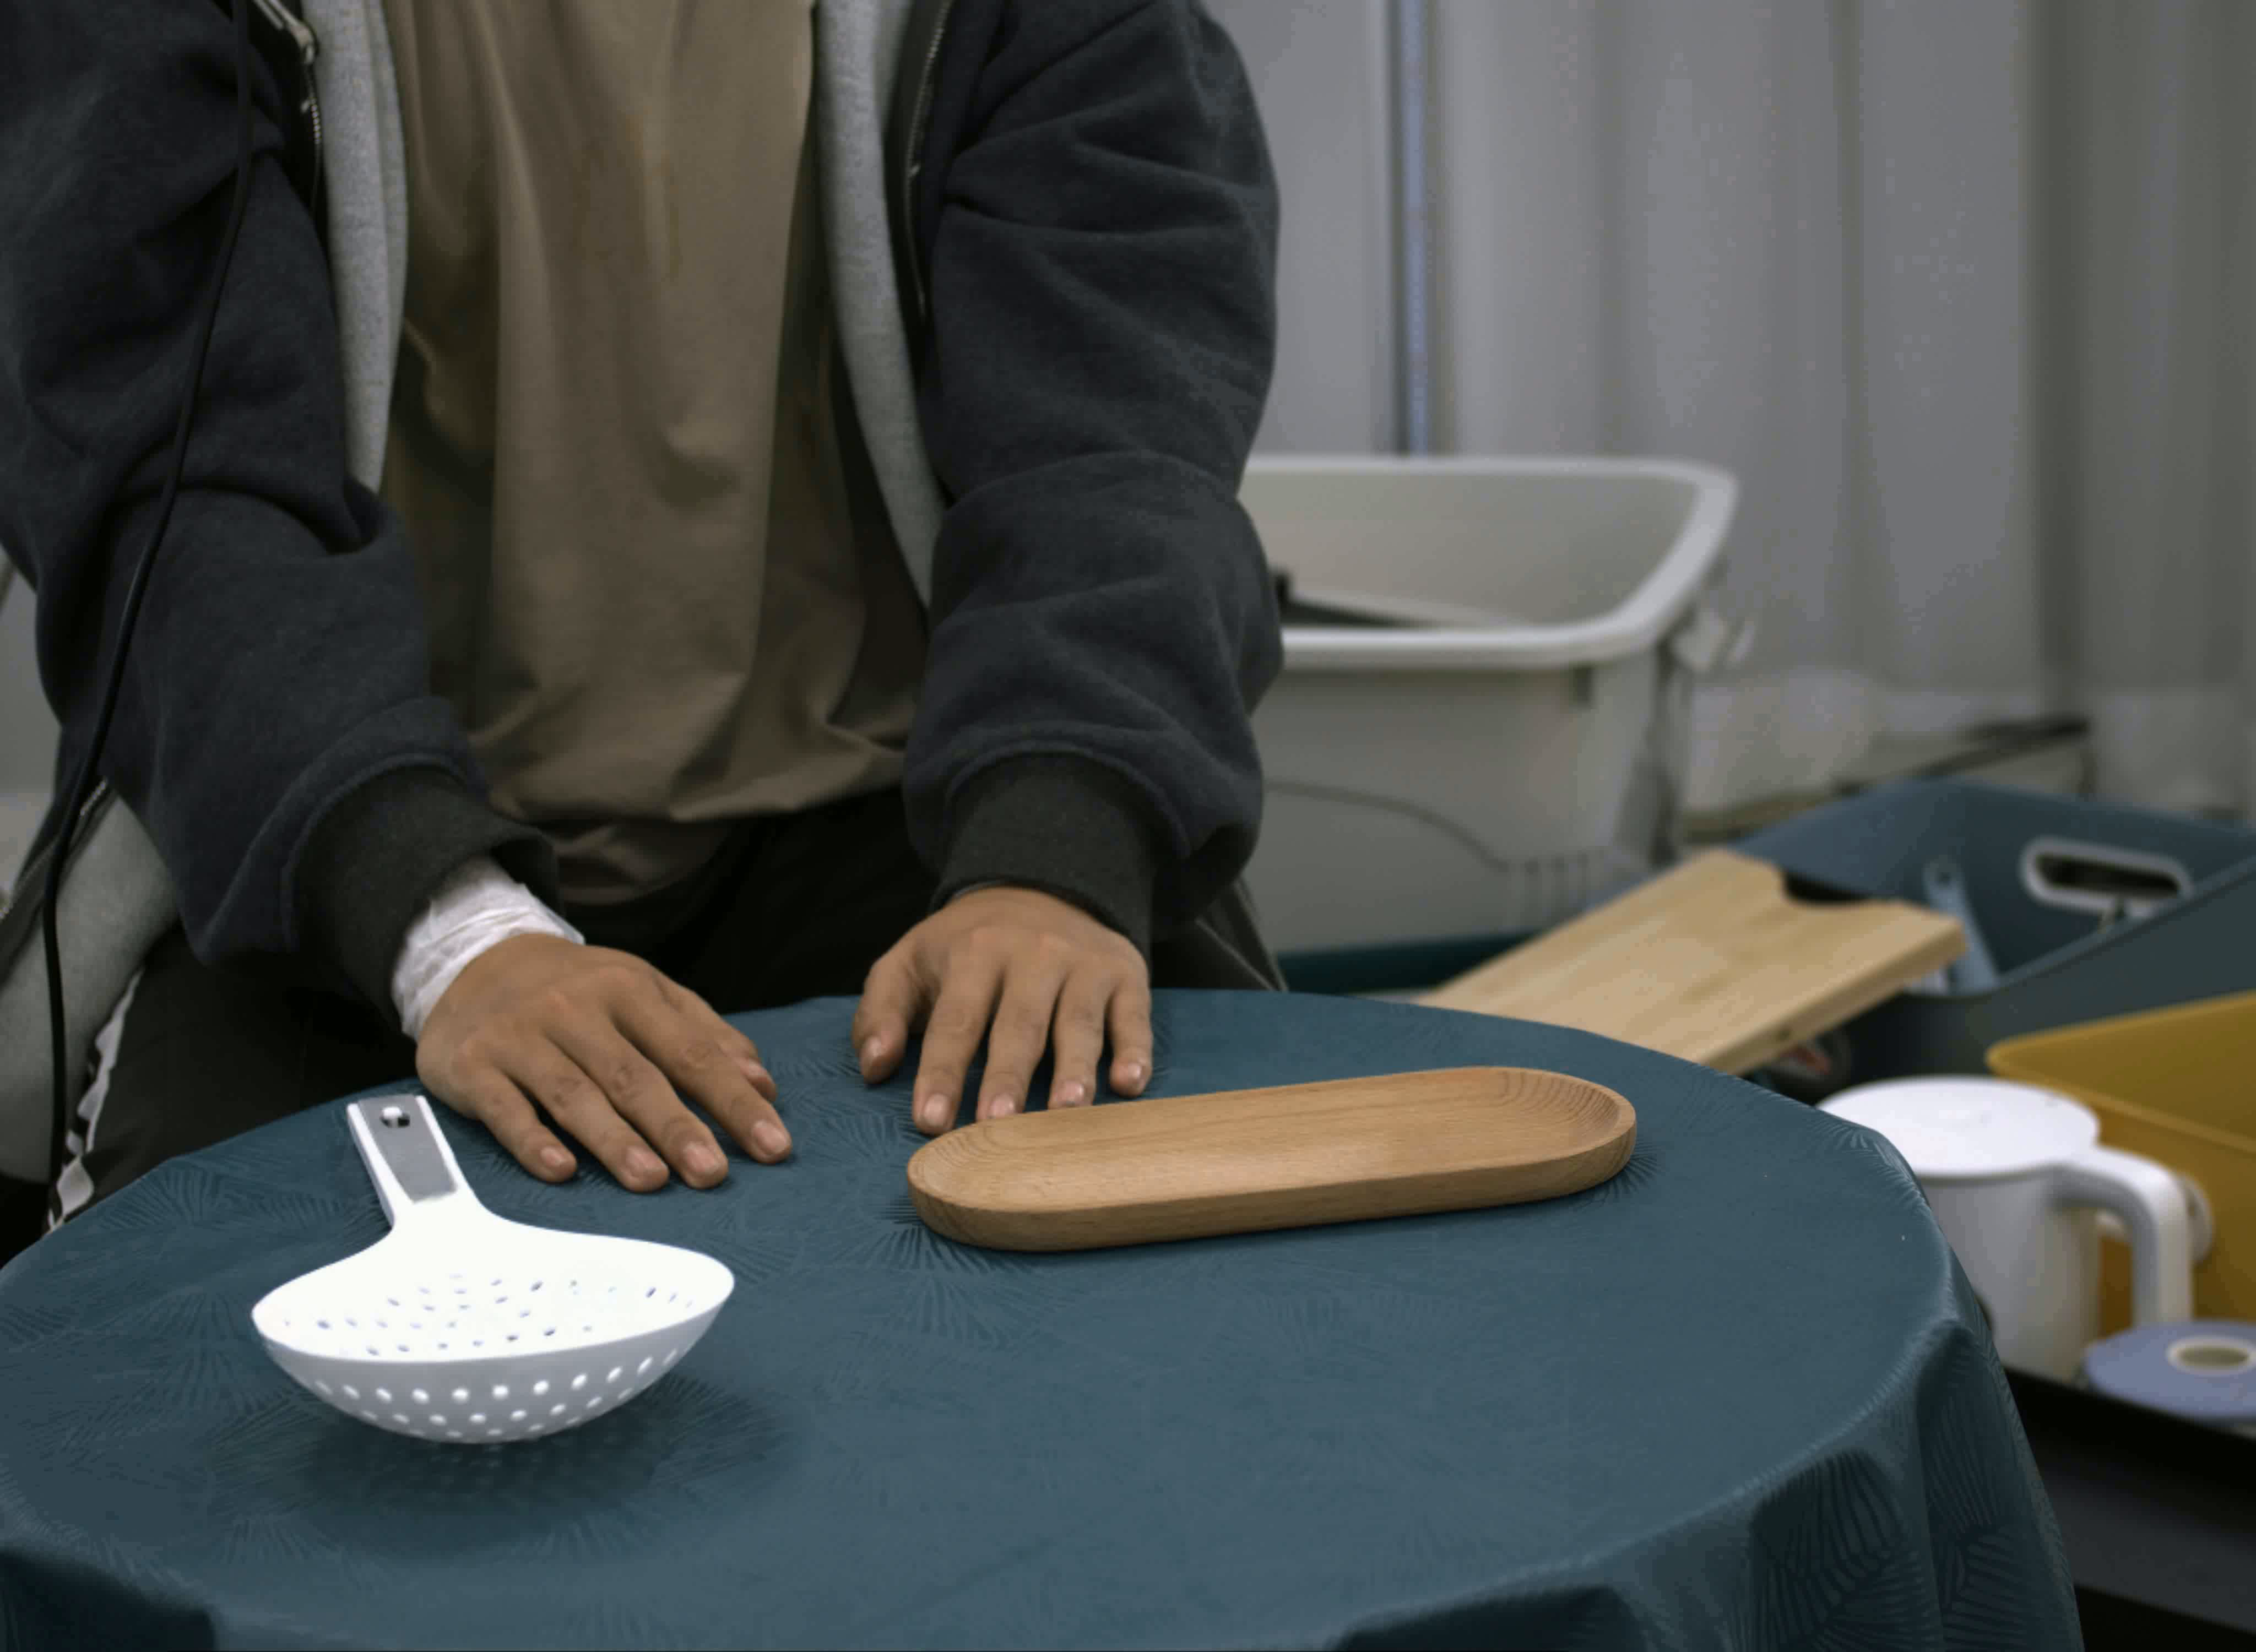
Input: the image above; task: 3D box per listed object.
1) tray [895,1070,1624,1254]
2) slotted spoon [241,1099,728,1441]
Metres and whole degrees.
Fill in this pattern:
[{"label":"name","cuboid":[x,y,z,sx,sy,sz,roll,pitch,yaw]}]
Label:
[{"label":"tray","cuboid":[0.042,0.105,1.711,0.230,0.020,0.102,-7,14,-9]},{"label":"slotted spoon","cuboid":[-0.205,0.123,1.636,0.135,0.045,0.352,-5,14,-13]}]
